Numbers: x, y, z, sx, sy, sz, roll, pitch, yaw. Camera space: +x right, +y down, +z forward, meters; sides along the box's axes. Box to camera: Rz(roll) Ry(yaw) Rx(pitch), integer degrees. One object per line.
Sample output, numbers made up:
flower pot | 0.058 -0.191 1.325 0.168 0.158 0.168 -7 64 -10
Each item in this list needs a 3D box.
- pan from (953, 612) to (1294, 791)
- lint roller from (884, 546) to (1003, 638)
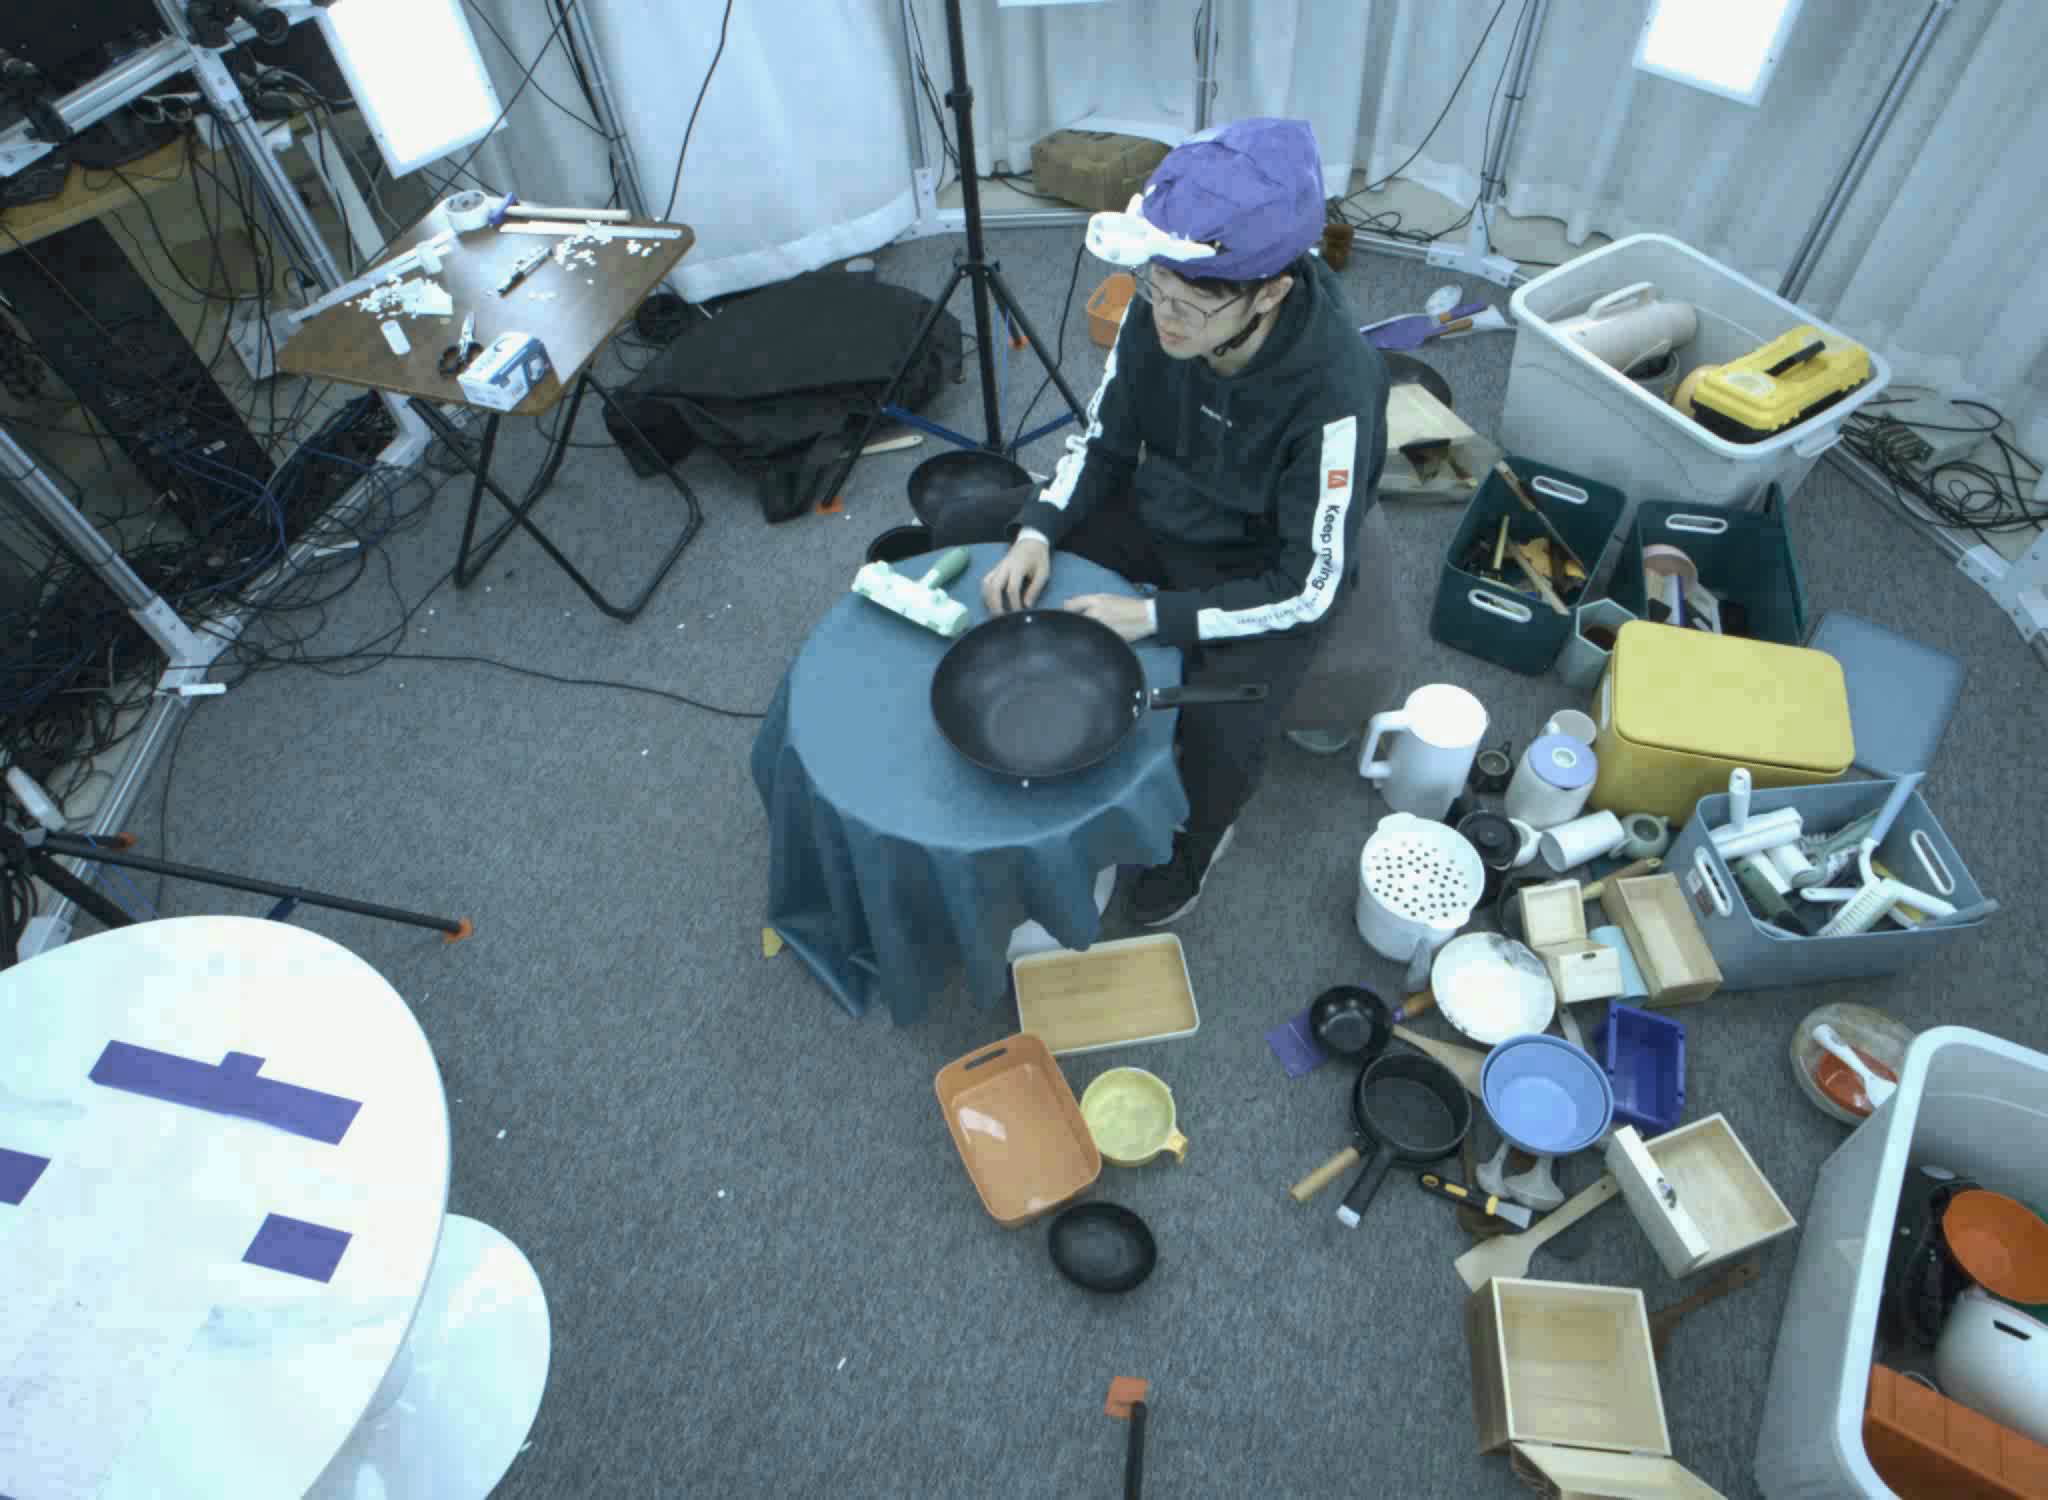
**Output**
pan | 0.138 -0.055 1.752 0.474 0.113 0.308 5 56 7
lint roller | -0.096 -0.280 1.939 0.195 0.083 0.184 30 66 22
